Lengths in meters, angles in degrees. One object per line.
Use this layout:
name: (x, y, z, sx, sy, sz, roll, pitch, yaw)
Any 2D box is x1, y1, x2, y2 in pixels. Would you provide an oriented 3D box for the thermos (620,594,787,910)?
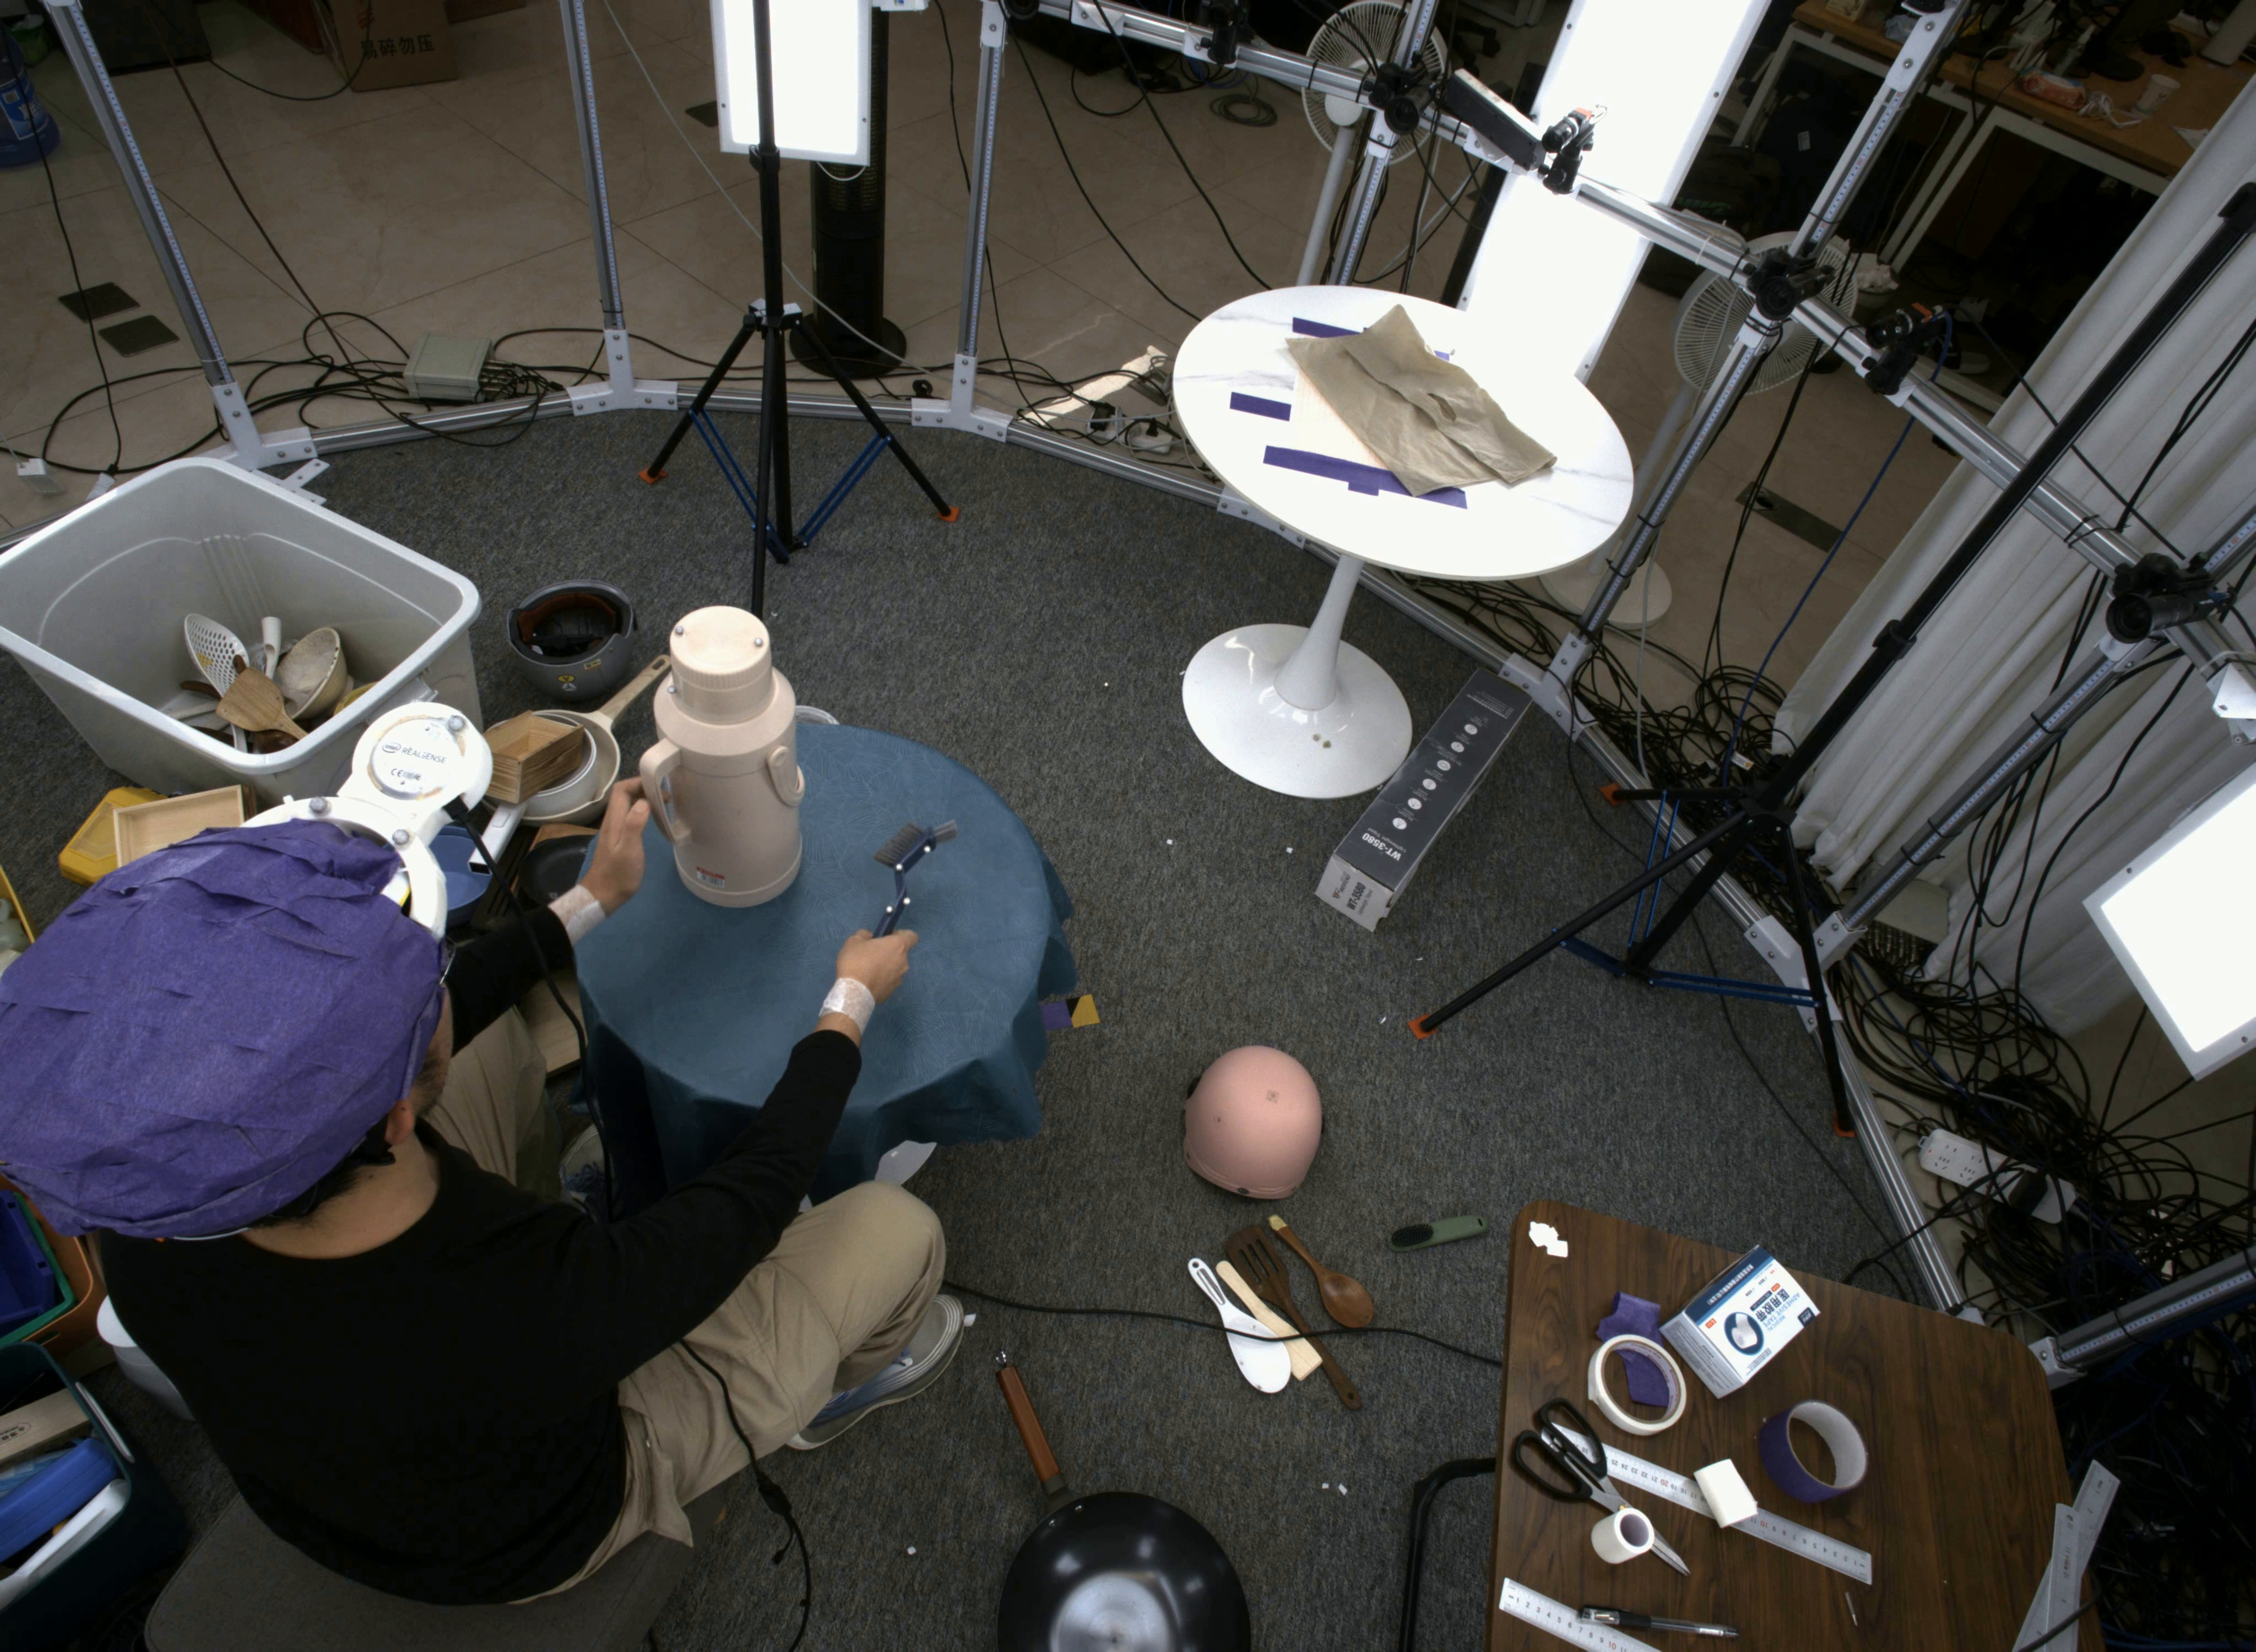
thermos: (-0.497, -0.075, 1.498, 0.172, 0.414, 0.207, 33, 53, 13)

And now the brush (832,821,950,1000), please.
brush: (-0.287, 0.092, 1.559, 0.095, 0.034, 0.269, 10, 49, -1)
